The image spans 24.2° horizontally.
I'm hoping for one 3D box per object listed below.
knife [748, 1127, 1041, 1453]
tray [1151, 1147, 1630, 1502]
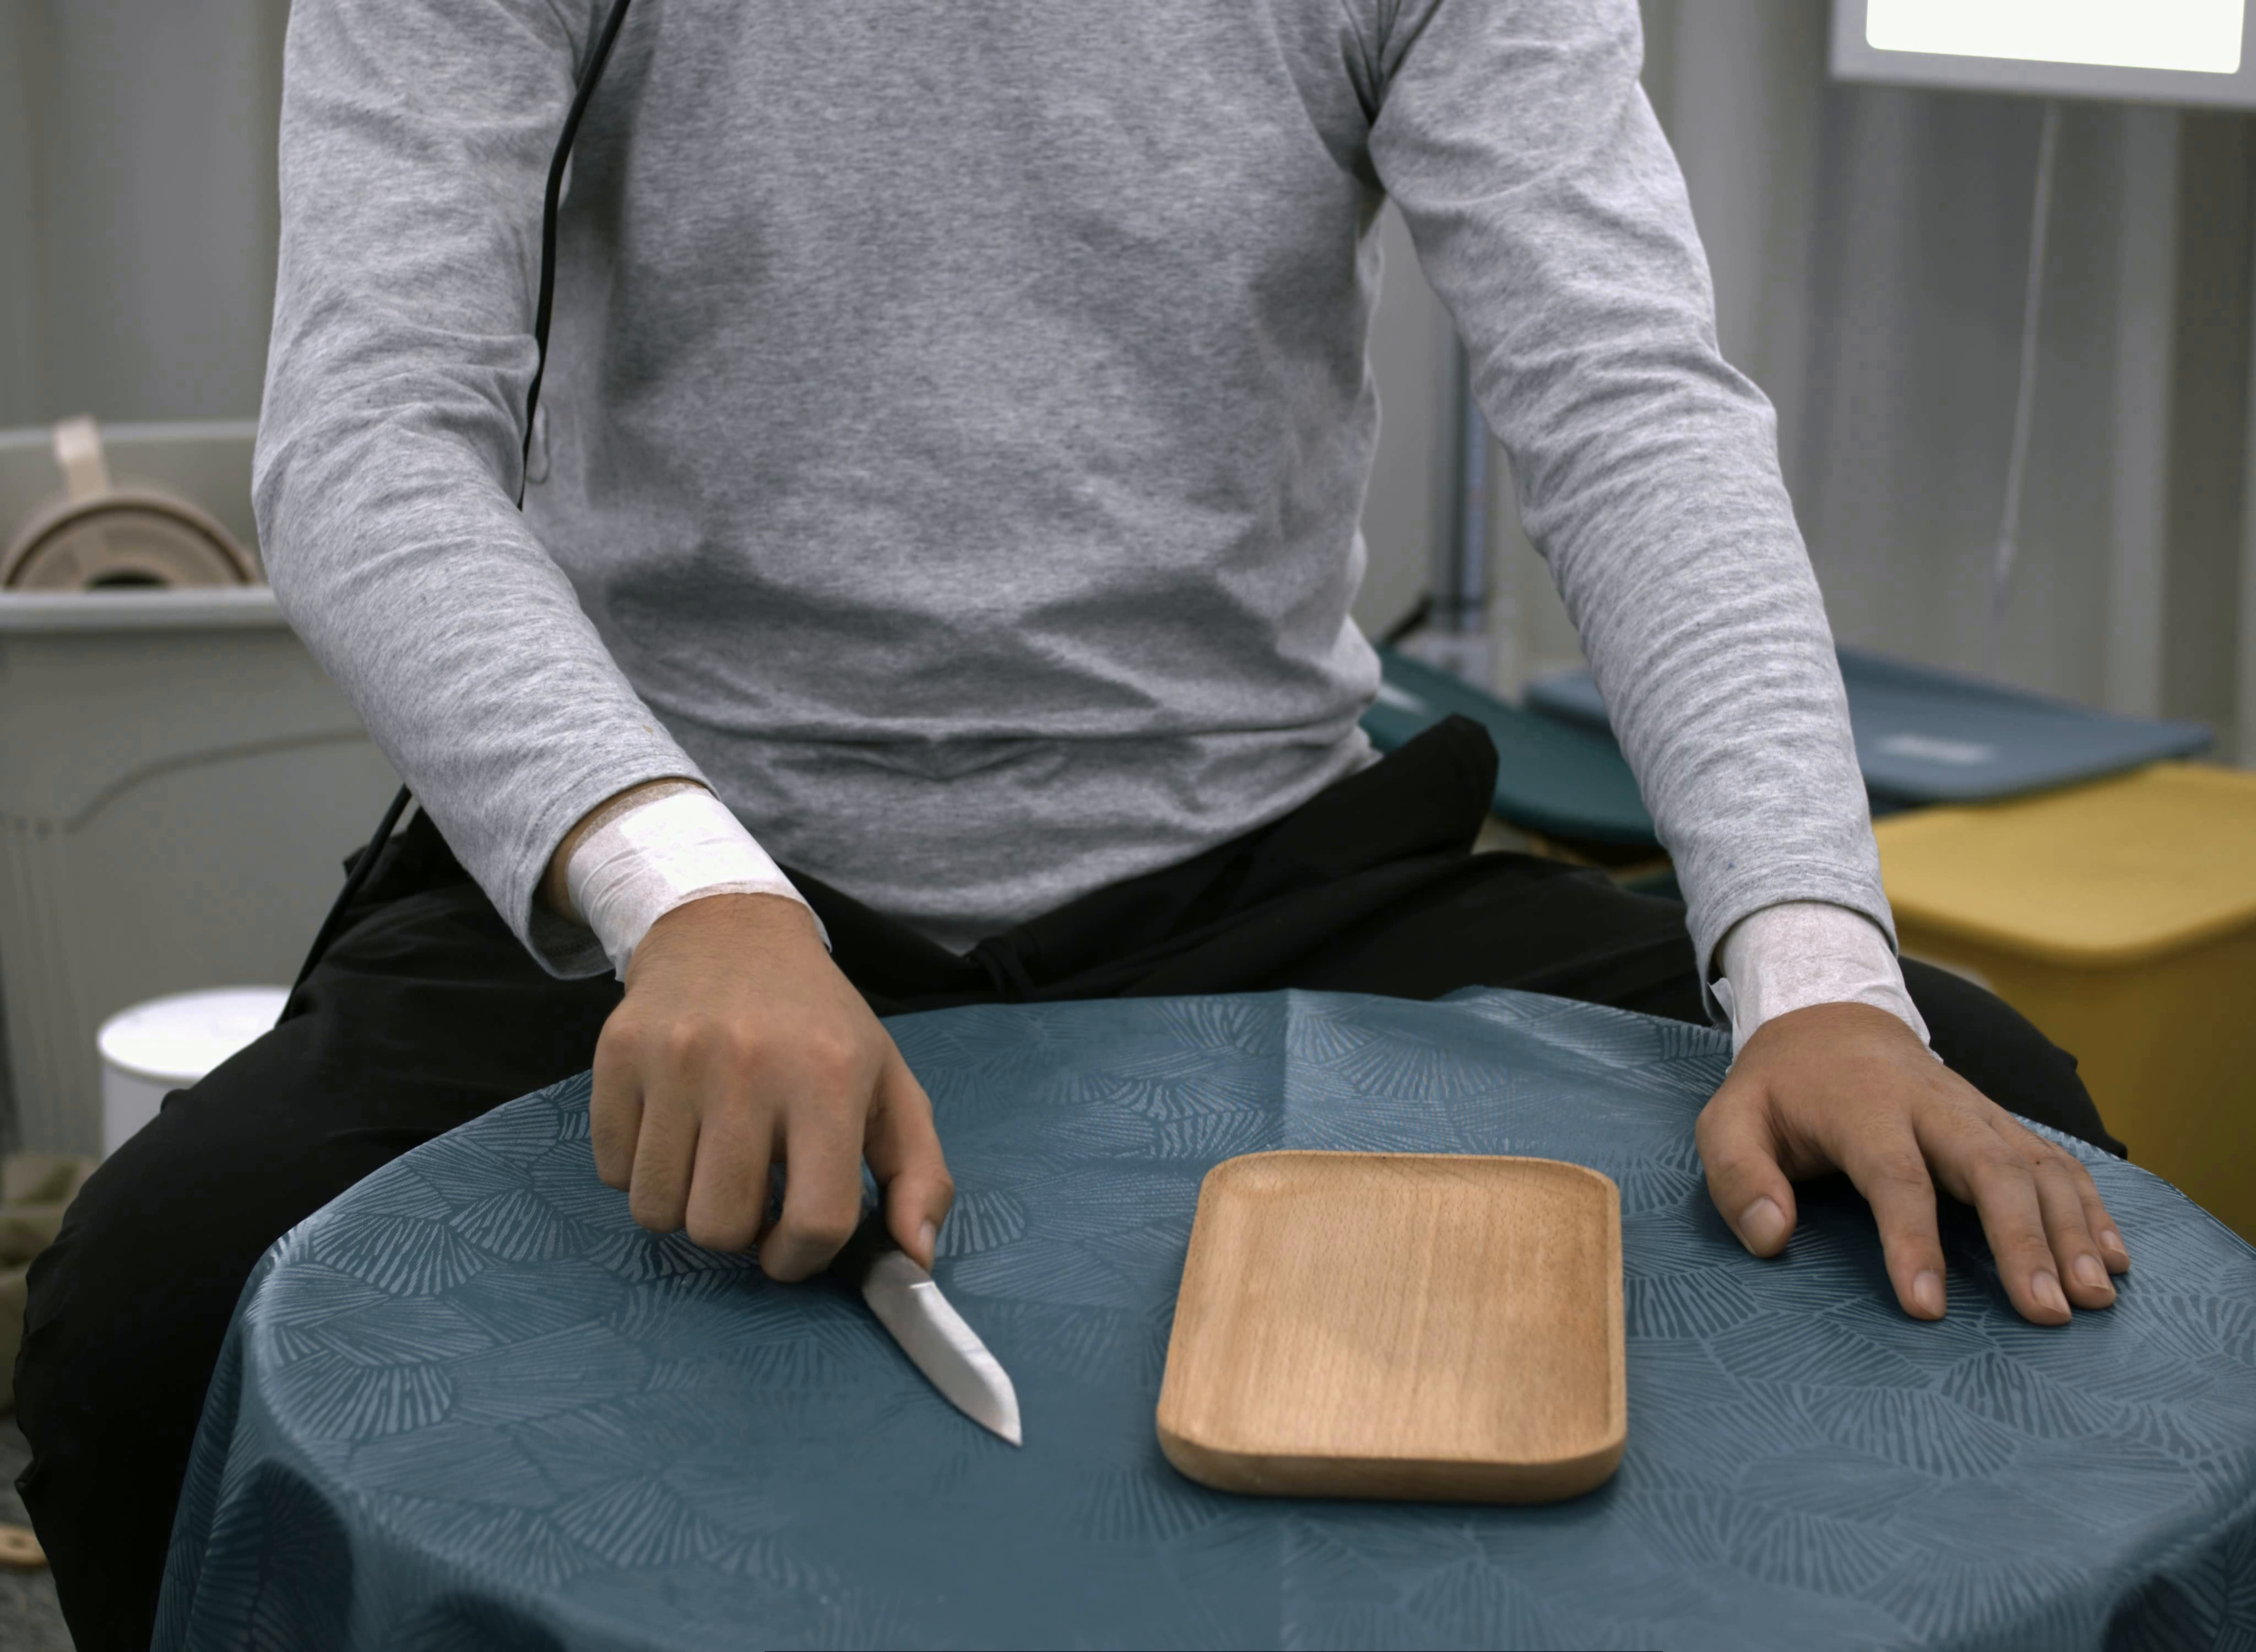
[{"bbox_3d":[-0.070,0.134,1.523,0.024,0.016,0.235,-6,20,-21],"label":"knife"},{"bbox_3d":[0.078,0.139,1.501,0.130,0.023,0.250,5,15,4],"label":"tray"}]
